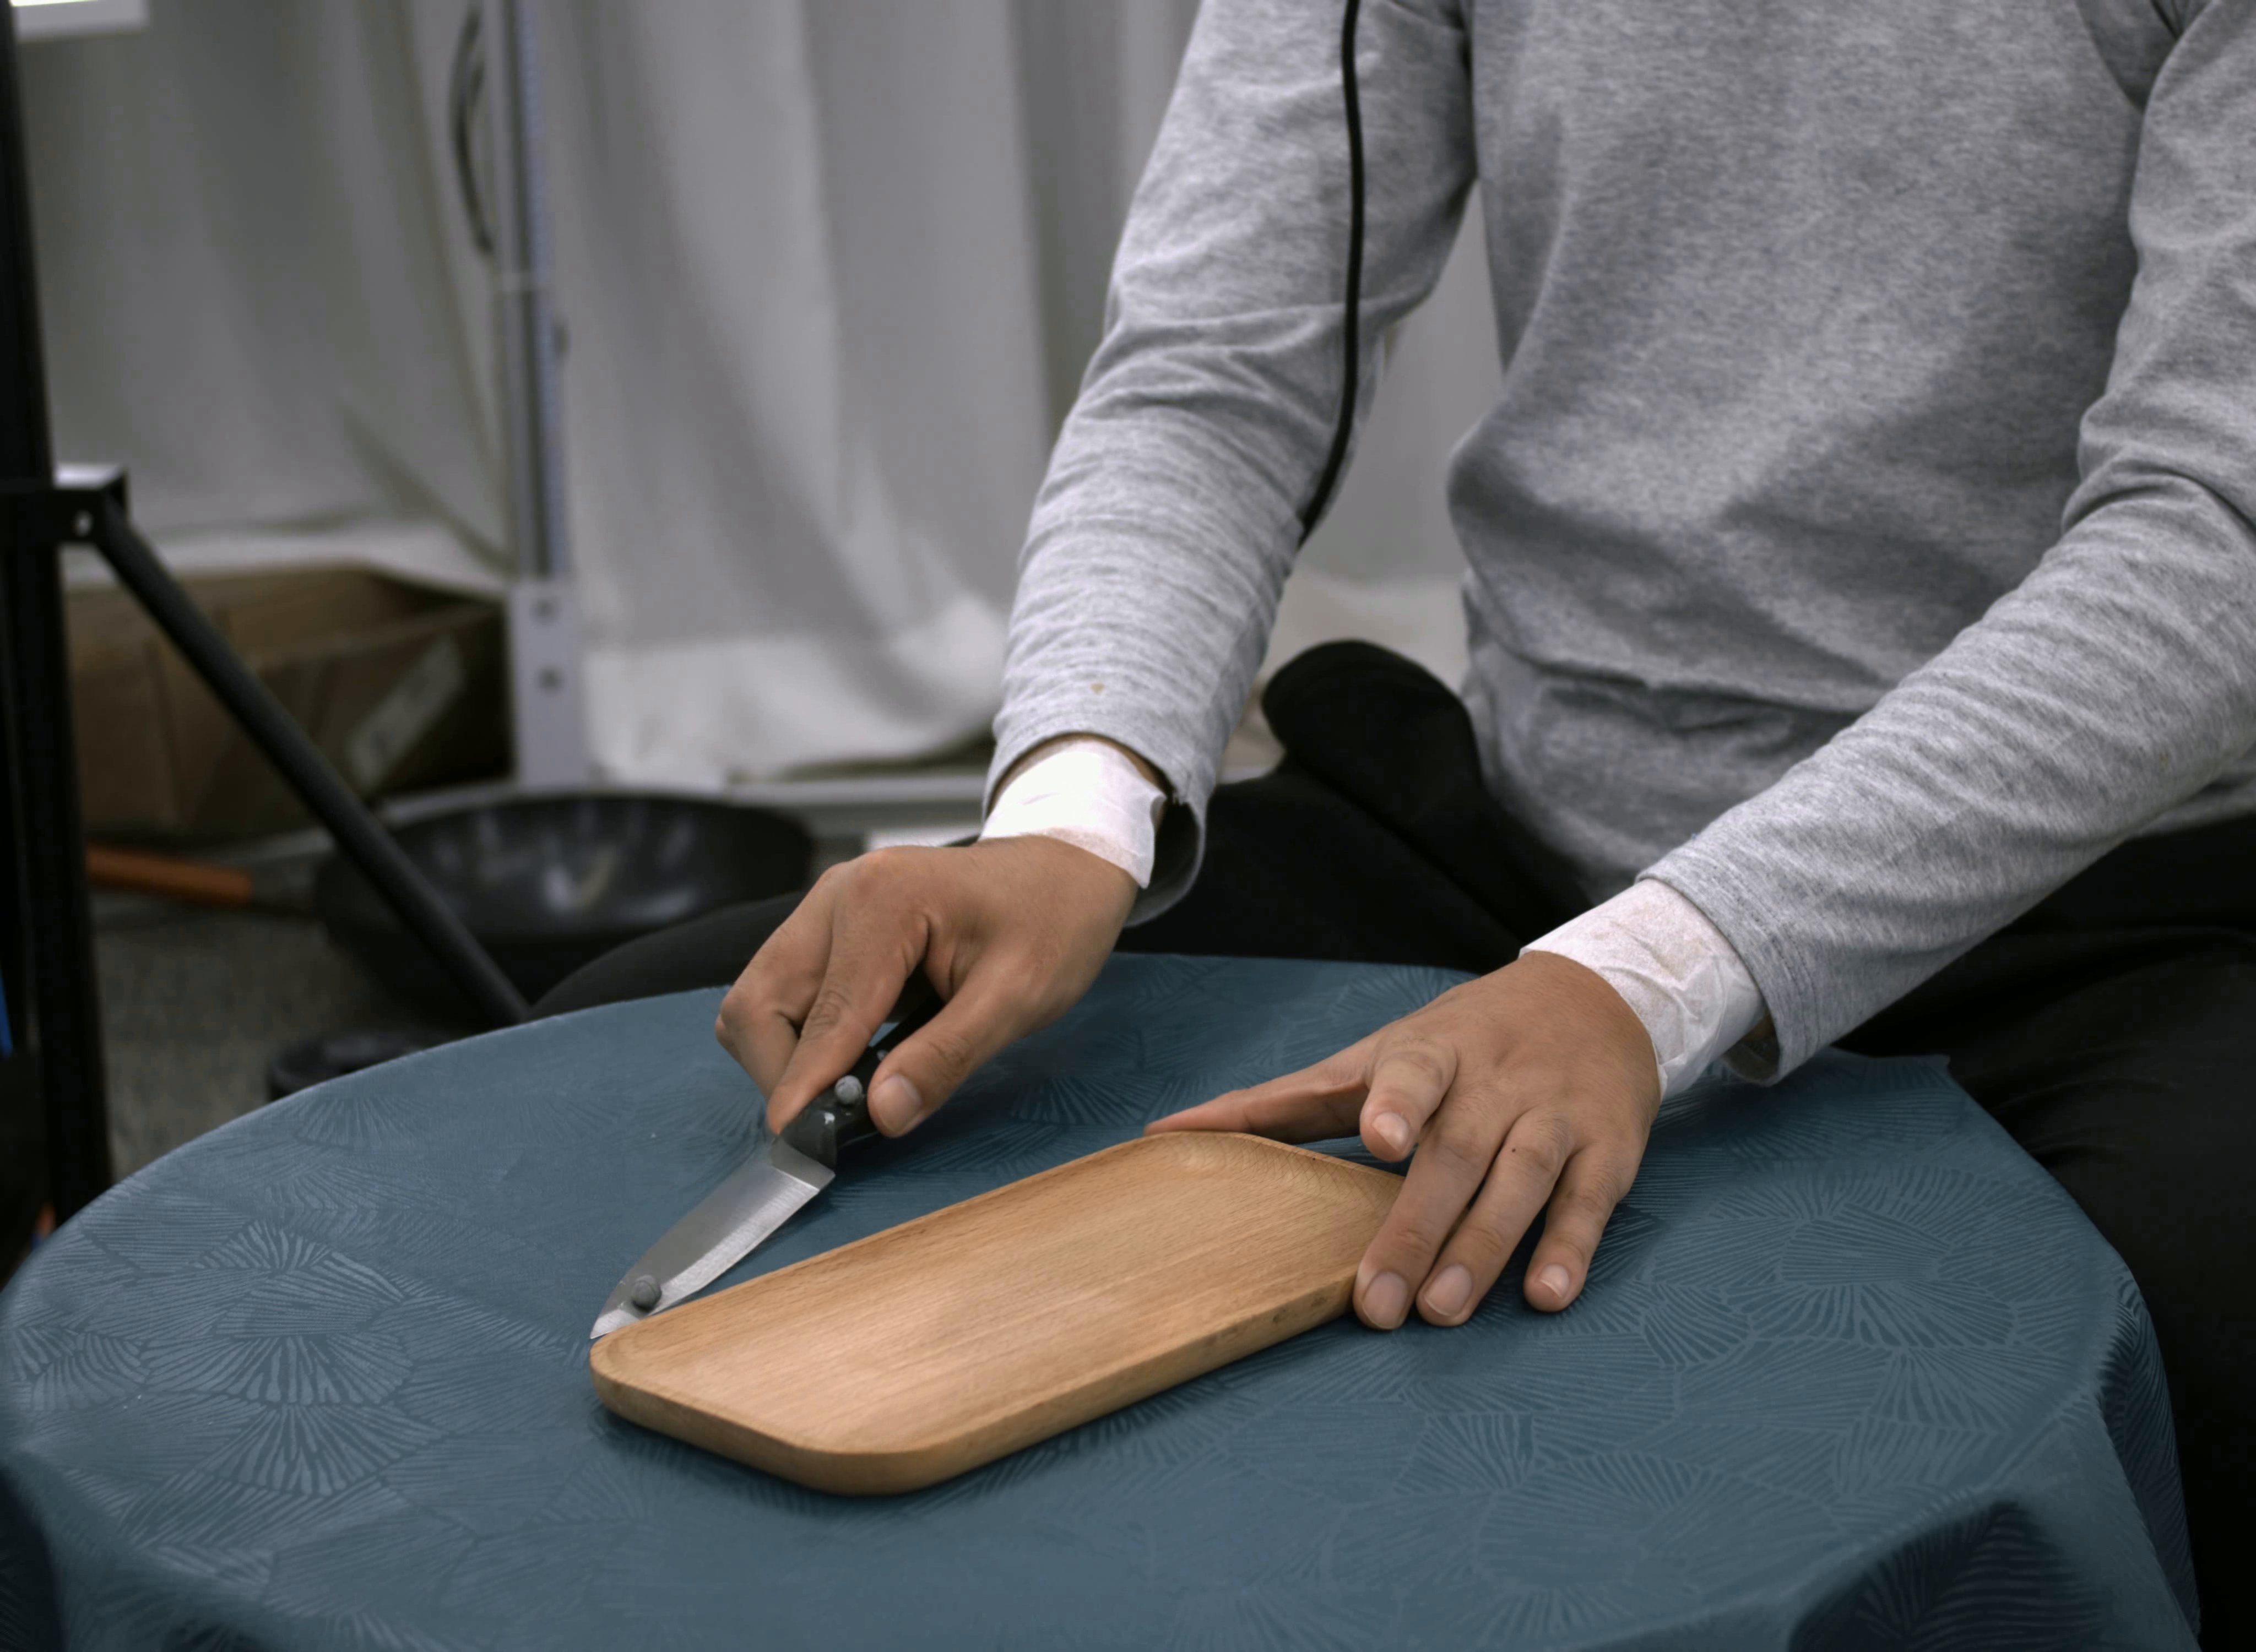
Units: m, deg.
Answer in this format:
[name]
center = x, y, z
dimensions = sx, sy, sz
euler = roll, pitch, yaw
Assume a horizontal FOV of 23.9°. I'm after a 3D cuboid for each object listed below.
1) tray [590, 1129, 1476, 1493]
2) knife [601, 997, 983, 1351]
[tray]
center = -0.022, 0.130, 1.457
dimensions = 0.245, 0.023, 0.133
euler = -15, 23, -41
[knife]
center = -0.099, 0.100, 1.564
dimensions = 0.025, 0.016, 0.235
euler = 23, 29, 15
